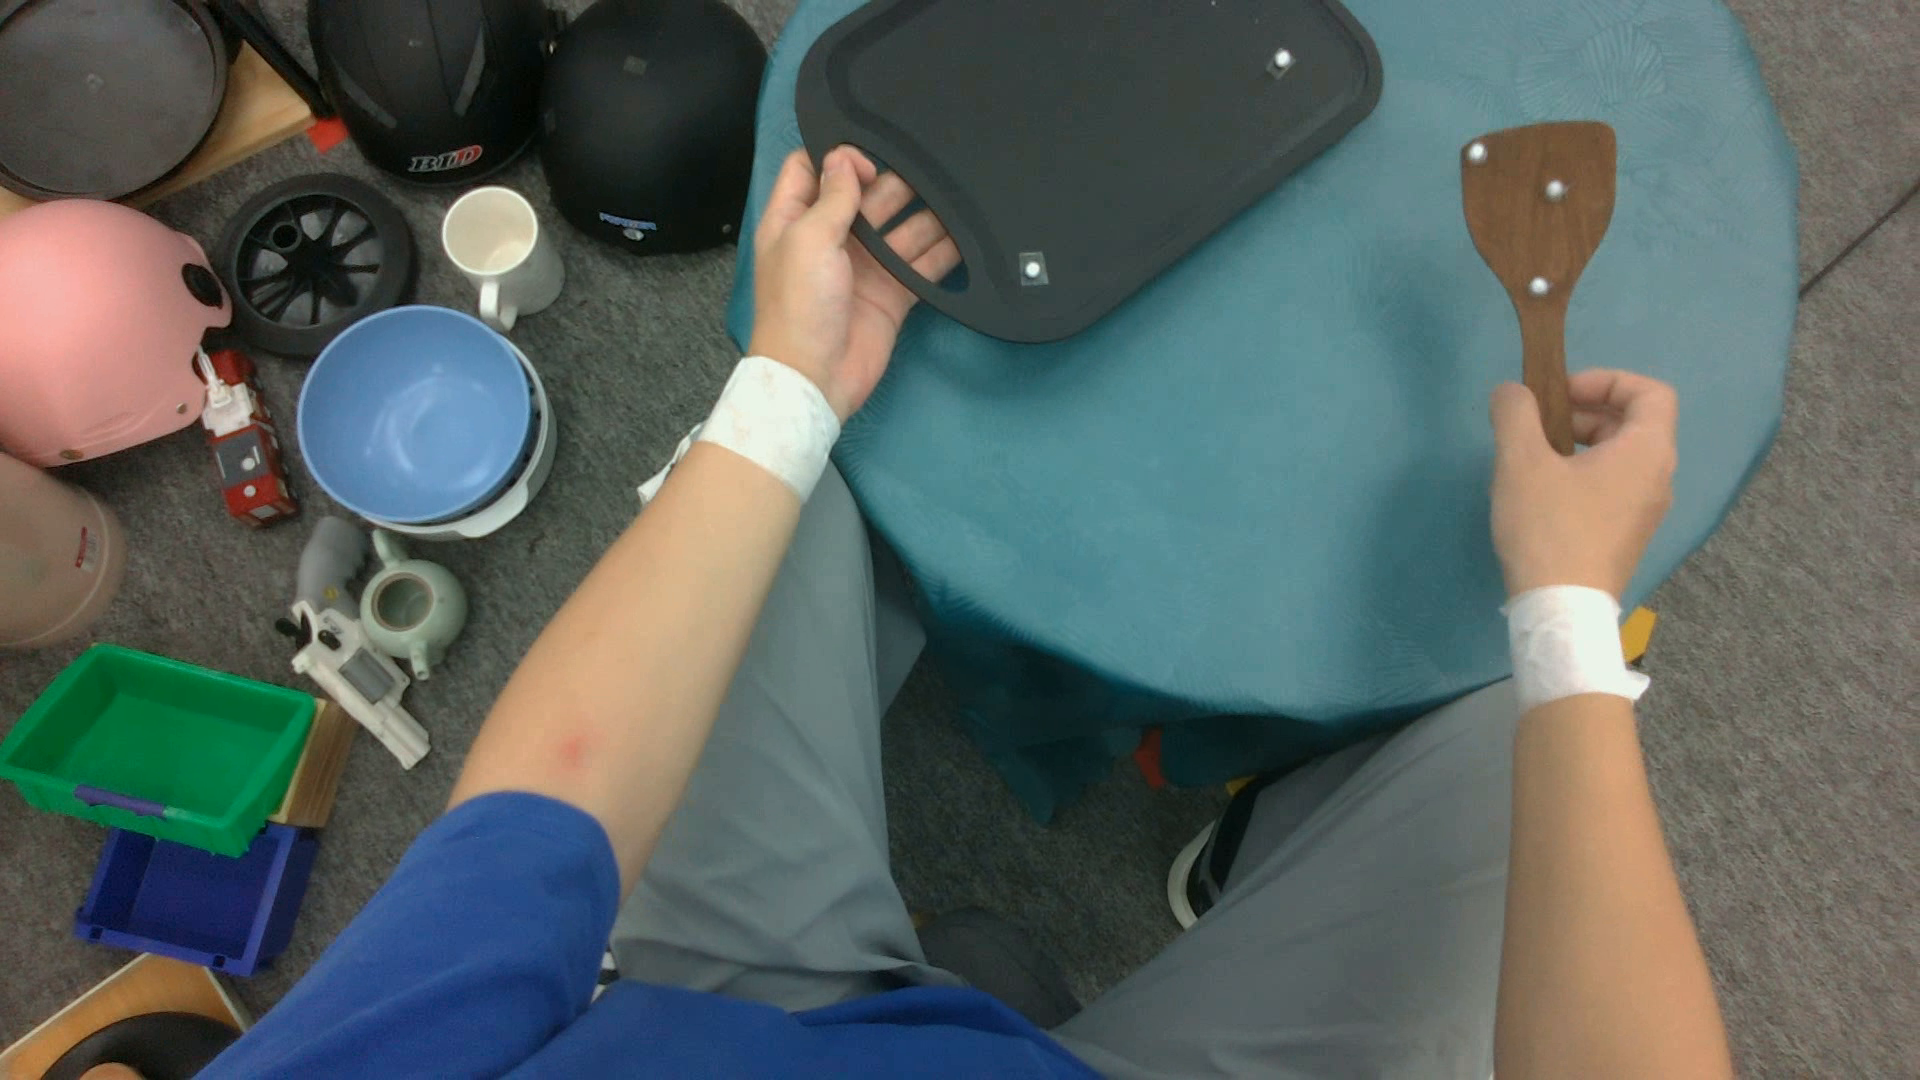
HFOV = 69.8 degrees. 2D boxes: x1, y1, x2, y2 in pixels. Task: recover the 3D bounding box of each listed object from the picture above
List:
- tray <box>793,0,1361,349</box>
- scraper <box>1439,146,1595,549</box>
[{"bbox_3d":[0.068,-0.244,0.766,0.326,0.010,0.211,-38,83,-20],"label":"tray"},{"bbox_3d":[0.294,-0.100,0.712,0.075,0.011,0.211,-4,80,22],"label":"scraper"}]
